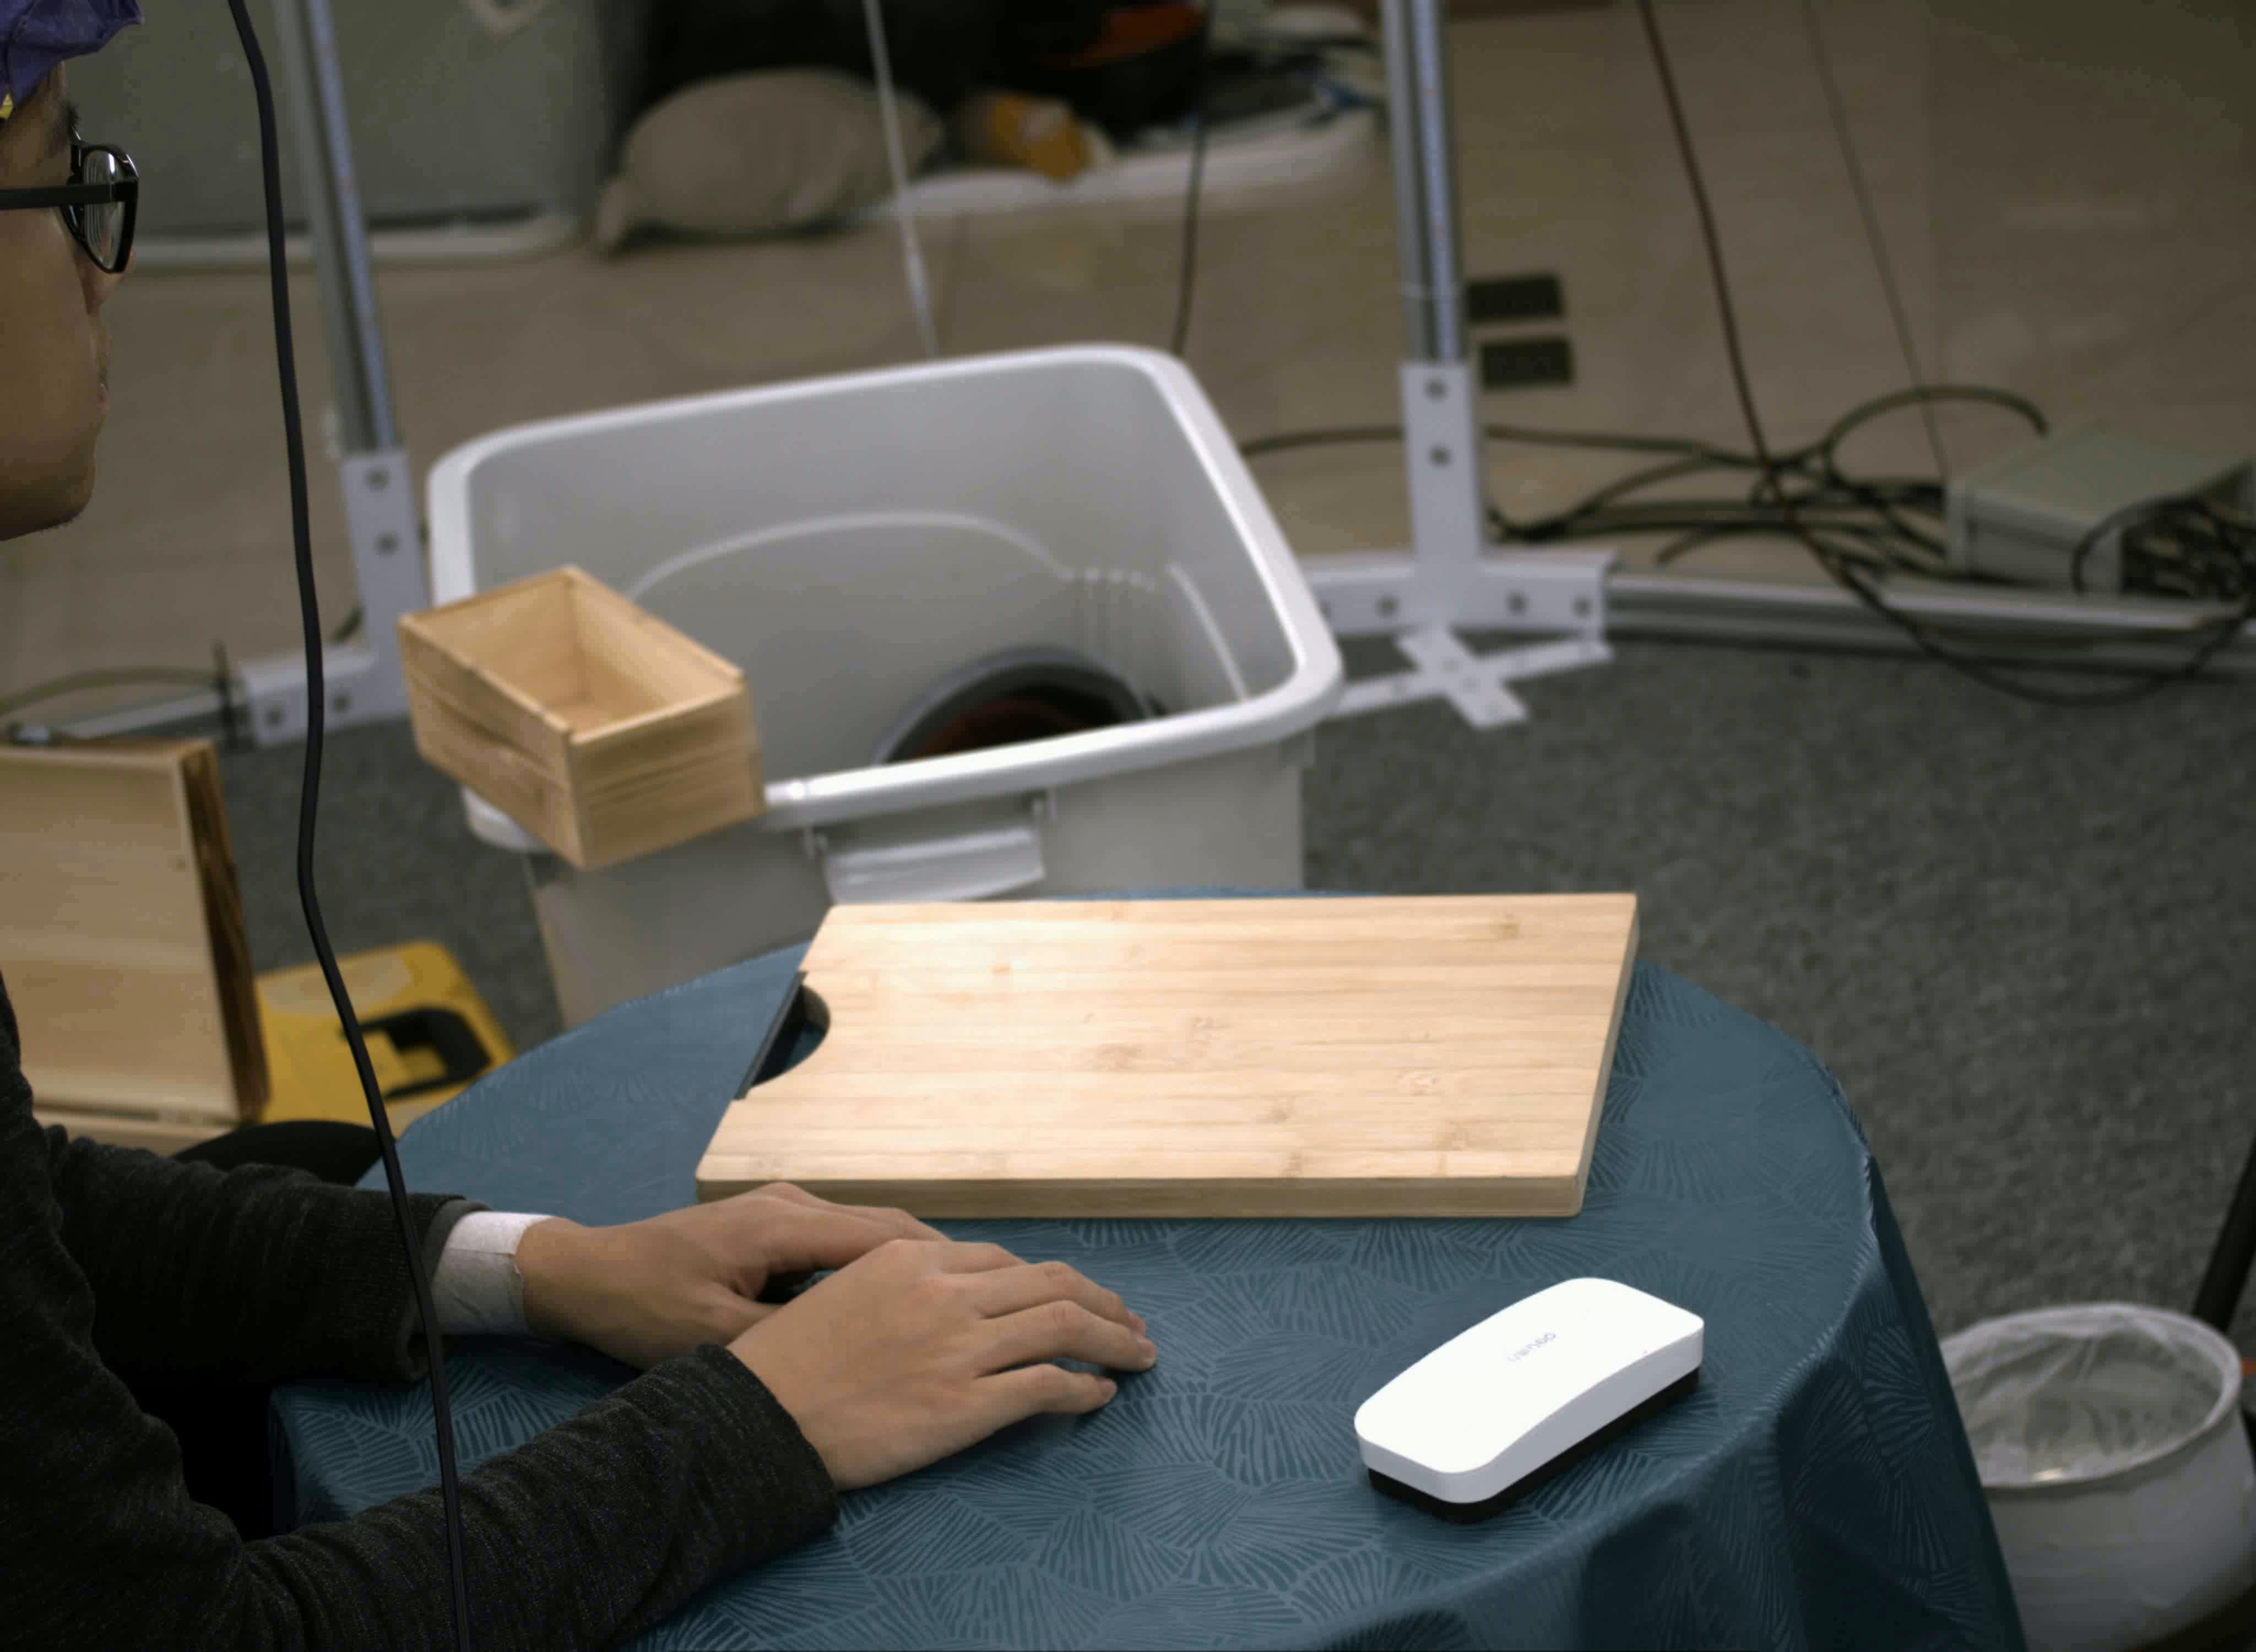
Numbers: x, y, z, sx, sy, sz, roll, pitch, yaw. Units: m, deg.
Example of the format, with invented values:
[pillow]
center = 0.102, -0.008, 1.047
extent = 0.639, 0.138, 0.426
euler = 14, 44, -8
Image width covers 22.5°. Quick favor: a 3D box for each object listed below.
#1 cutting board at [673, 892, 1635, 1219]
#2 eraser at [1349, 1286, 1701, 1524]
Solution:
[cutting board]
center = 0.016, 0.089, 2.232
extent = 0.348, 0.024, 0.247
euler = -1, 25, 11
[eraser]
center = 0.137, 0.195, 1.957
extent = 0.130, 0.035, 0.063
euler = -24, 31, -36
